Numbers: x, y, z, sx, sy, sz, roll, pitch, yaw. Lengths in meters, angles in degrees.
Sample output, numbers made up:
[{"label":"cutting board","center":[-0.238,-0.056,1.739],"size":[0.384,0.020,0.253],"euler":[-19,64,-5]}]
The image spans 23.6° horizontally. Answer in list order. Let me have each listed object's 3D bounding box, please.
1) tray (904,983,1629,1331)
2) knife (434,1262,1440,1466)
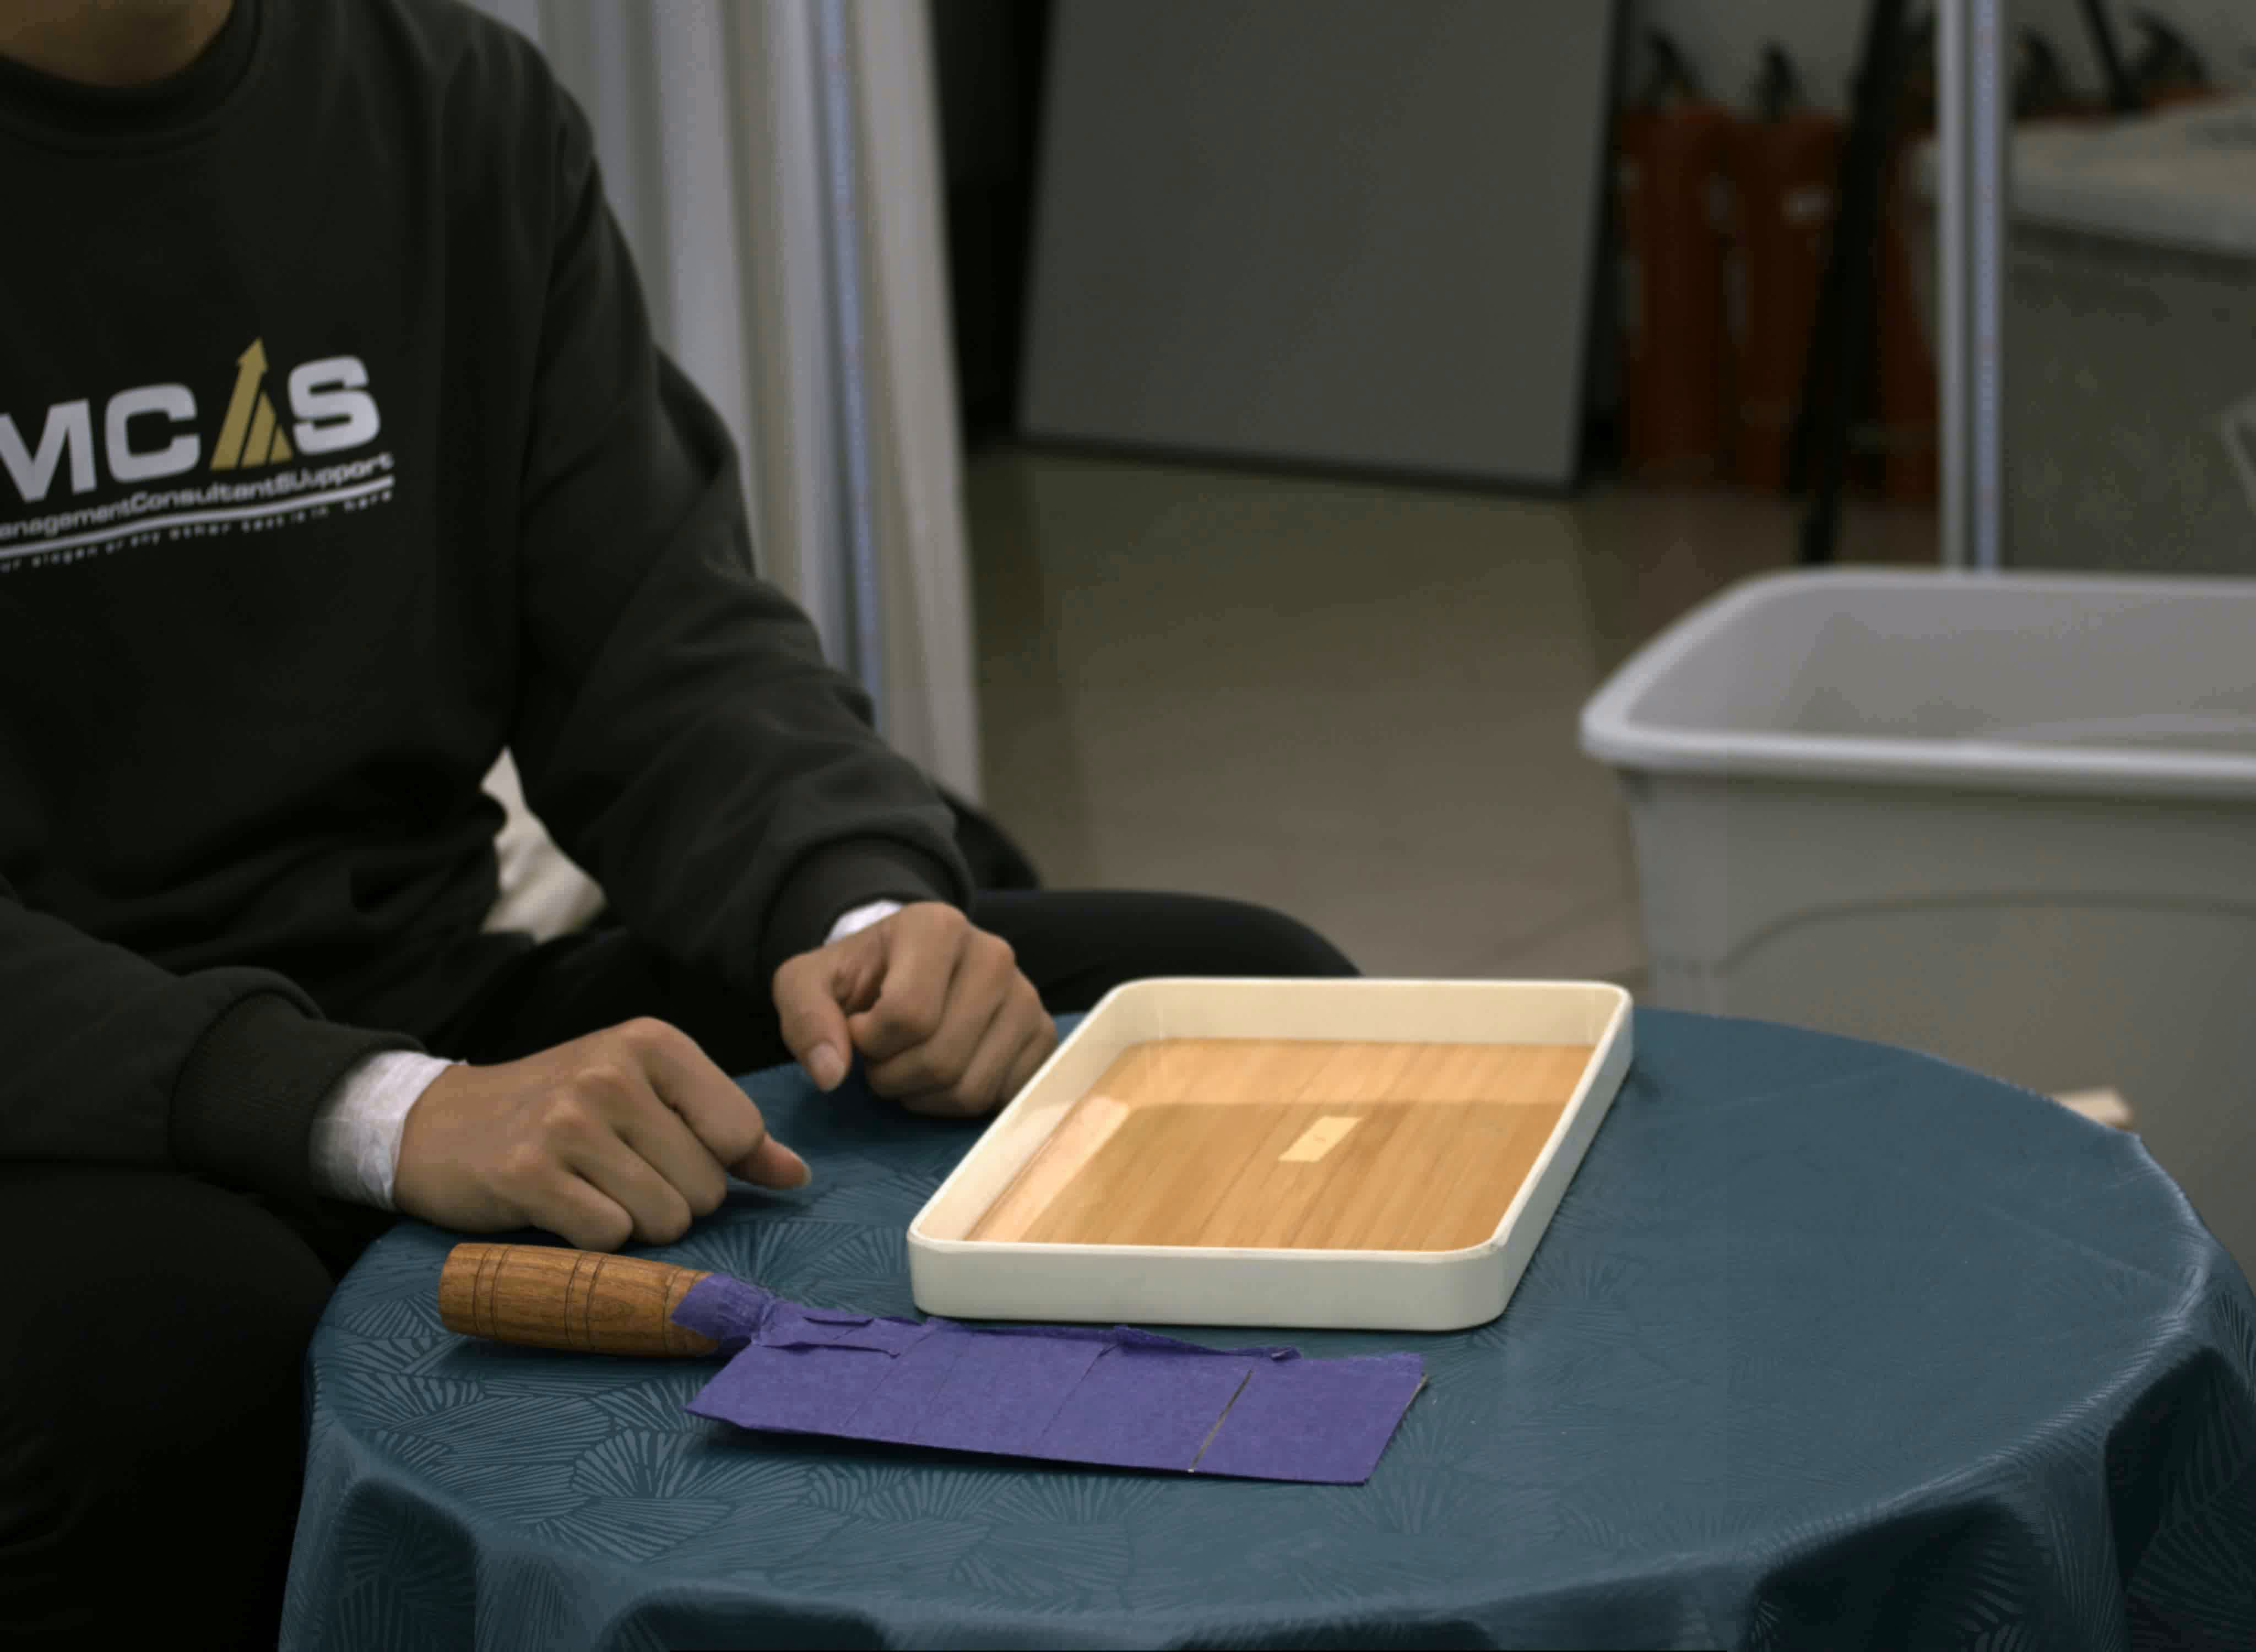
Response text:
[{"label":"tray","center":[0.053,0.105,1.771],"size":[0.191,0.028,0.298],"euler":[-1,14,15]},{"label":"knife","center":[-0.068,0.158,1.585],"size":[0.314,0.032,0.103],"euler":[1,14,18]}]
